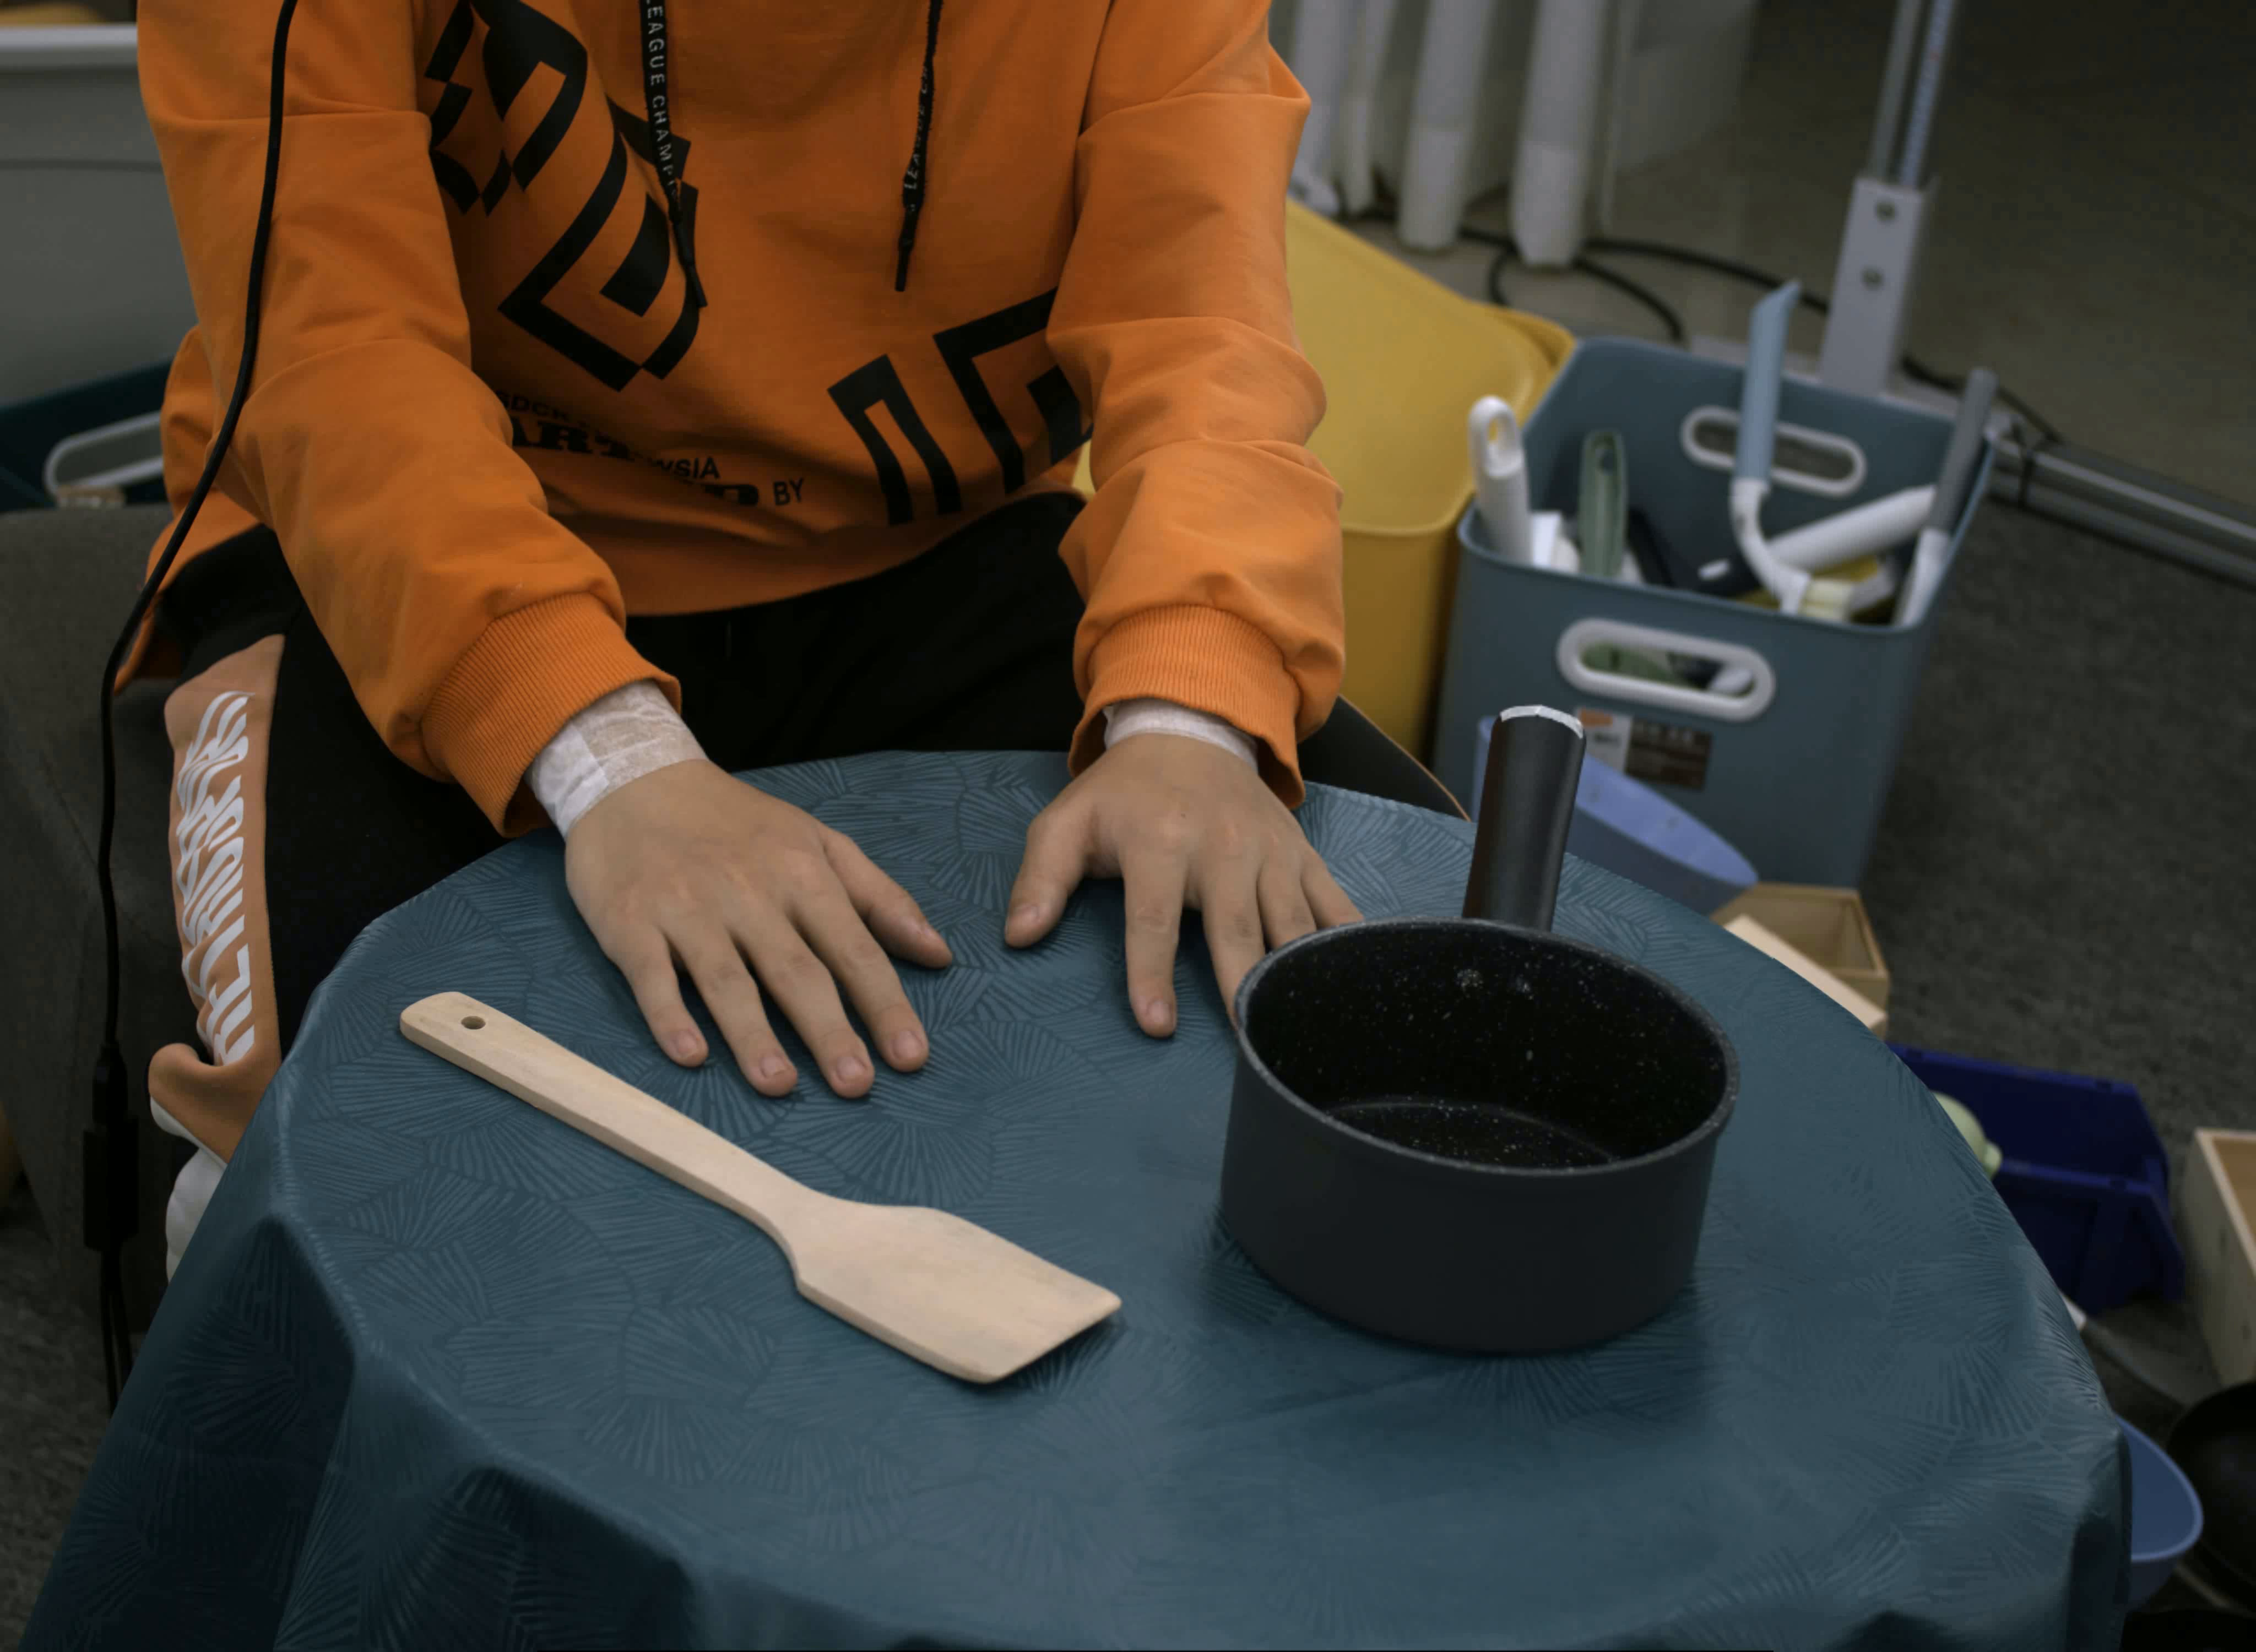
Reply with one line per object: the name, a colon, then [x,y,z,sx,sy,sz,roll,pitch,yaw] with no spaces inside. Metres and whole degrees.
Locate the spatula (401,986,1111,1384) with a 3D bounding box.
spatula: [-0.137,0.115,1.780,0.295,0.010,0.072,25,36,33]

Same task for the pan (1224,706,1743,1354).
pan: [0.130,0.066,1.852,0.172,0.086,0.330,11,29,7]
